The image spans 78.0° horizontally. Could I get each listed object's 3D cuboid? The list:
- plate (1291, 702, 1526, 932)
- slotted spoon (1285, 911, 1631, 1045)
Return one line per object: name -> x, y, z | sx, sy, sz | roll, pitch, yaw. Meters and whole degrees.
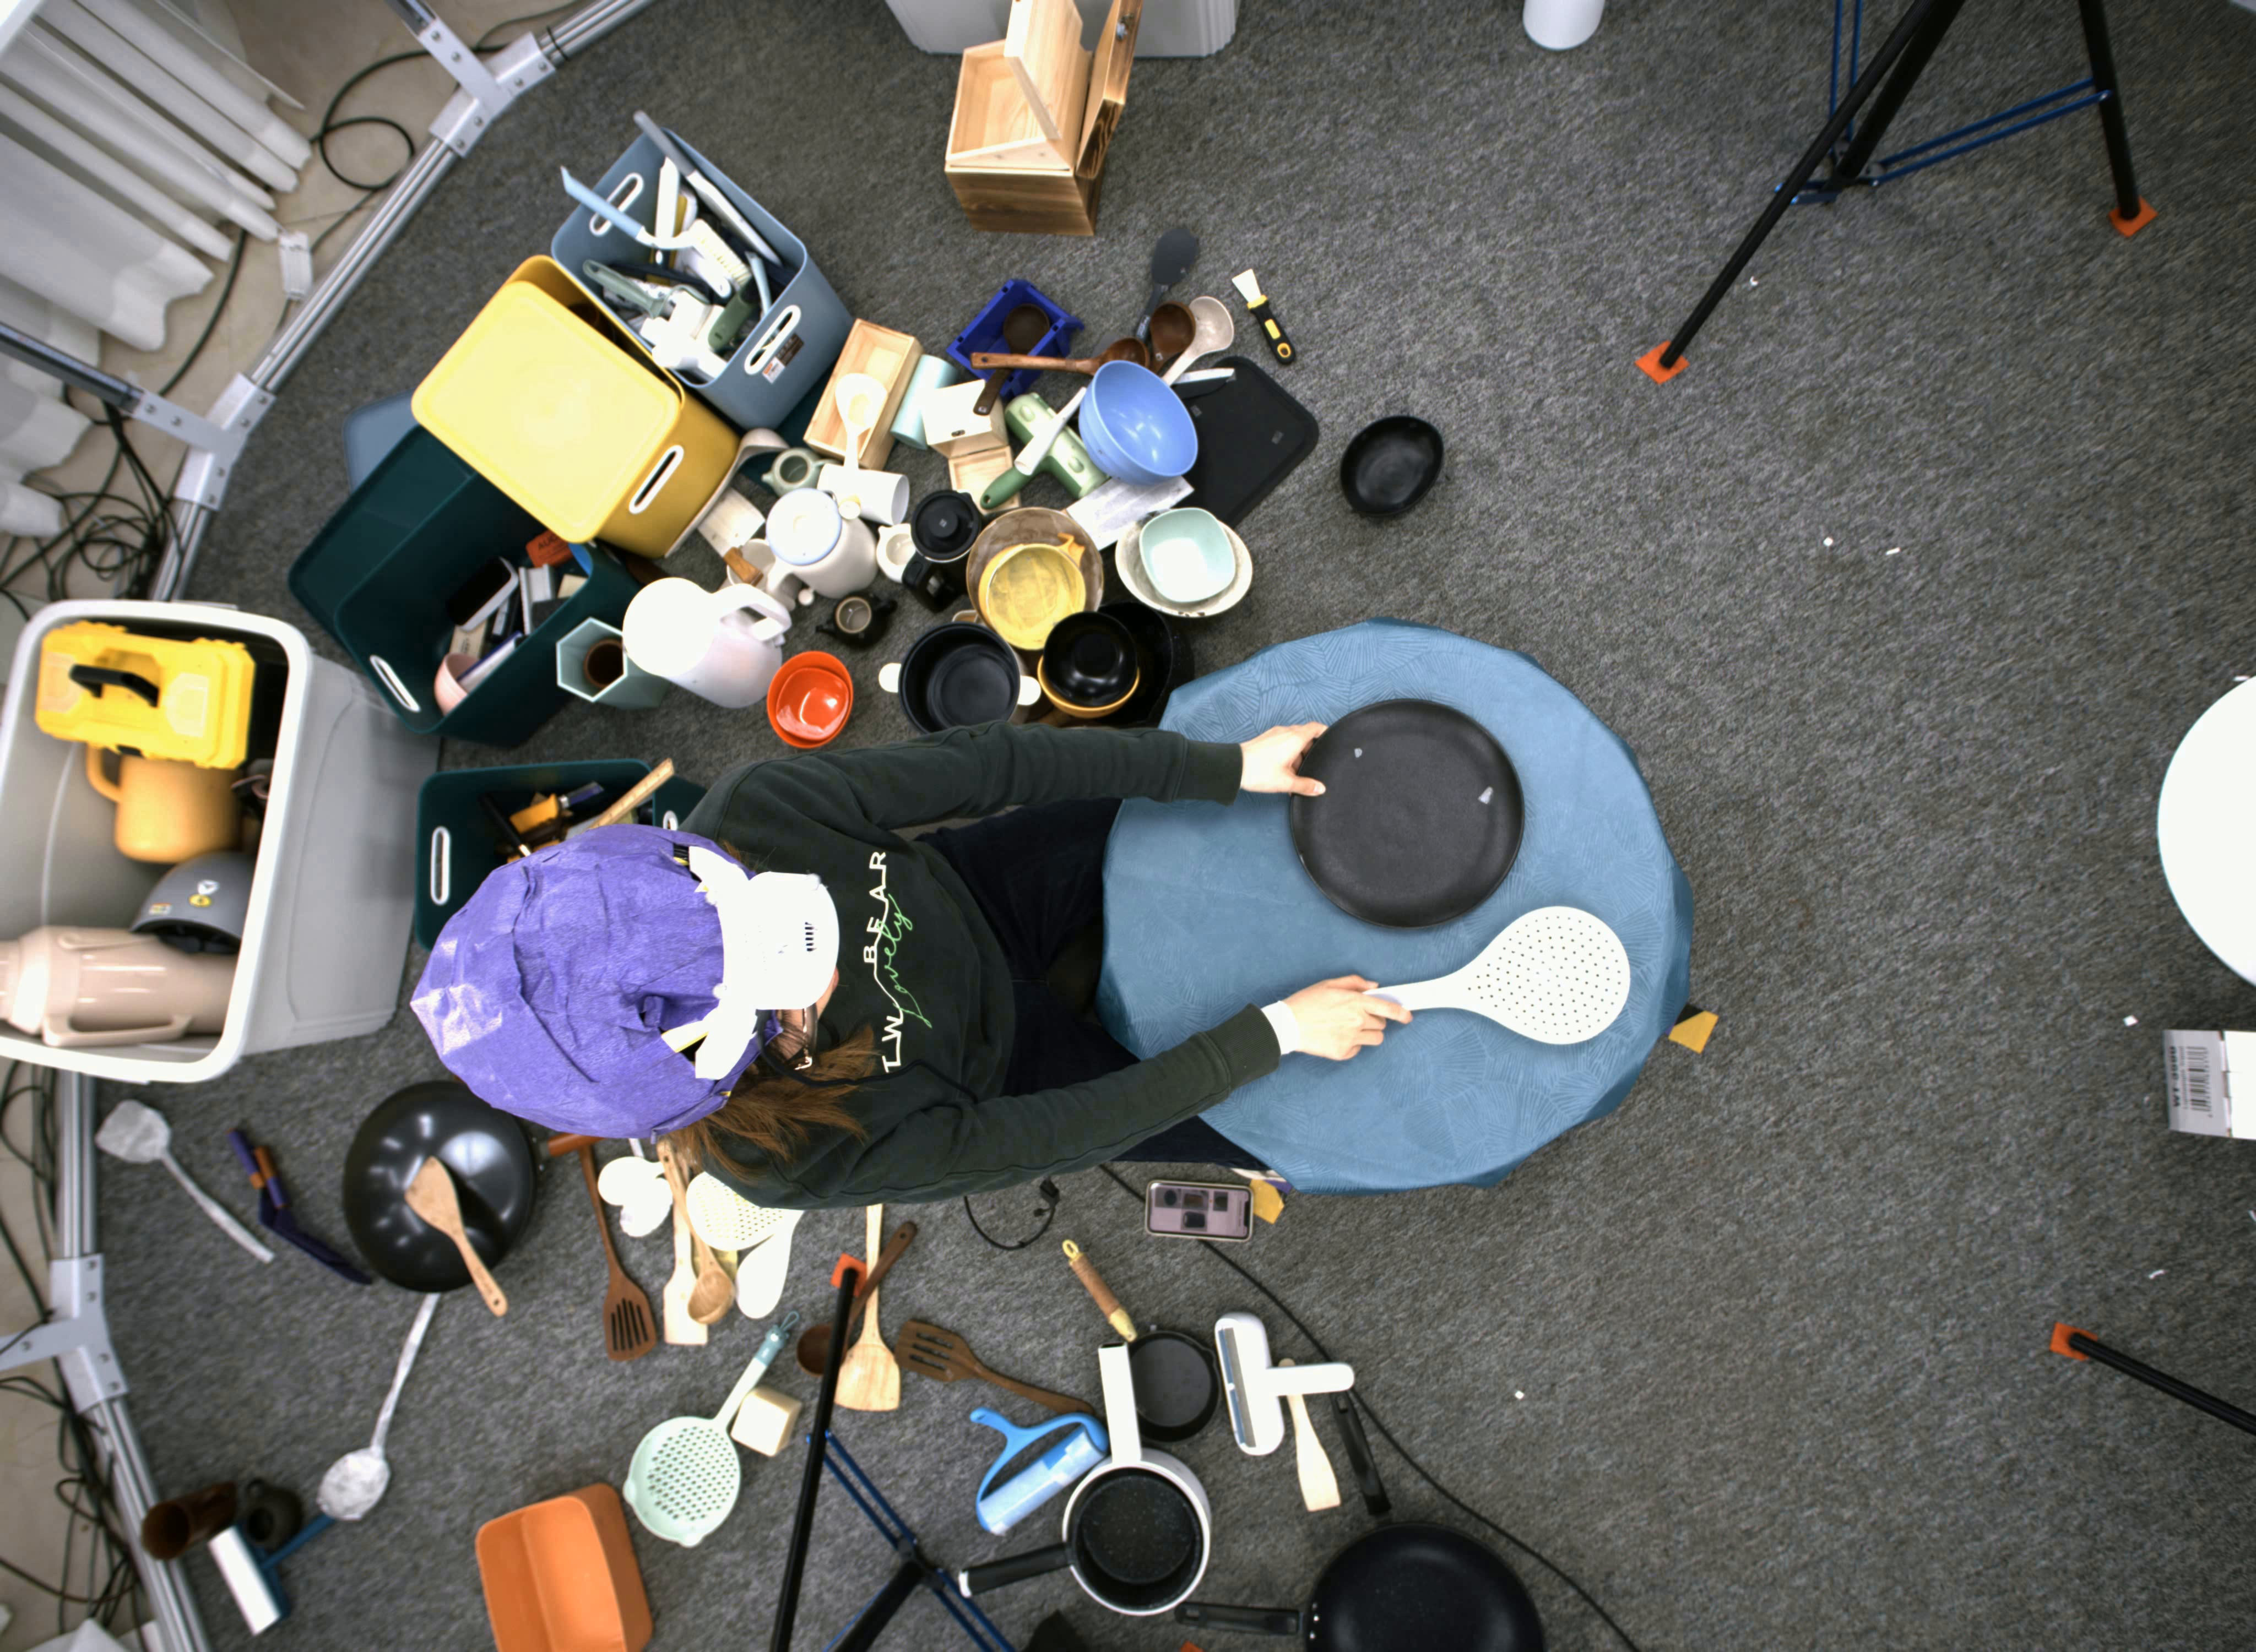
plate -> 0.294, -0.011, 1.453 | 0.245, 0.023, 0.243 | -1, 86, 10
slotted spoon -> 0.335, 0.171, 1.423 | 0.351, 0.046, 0.135 | -9, 80, 10
